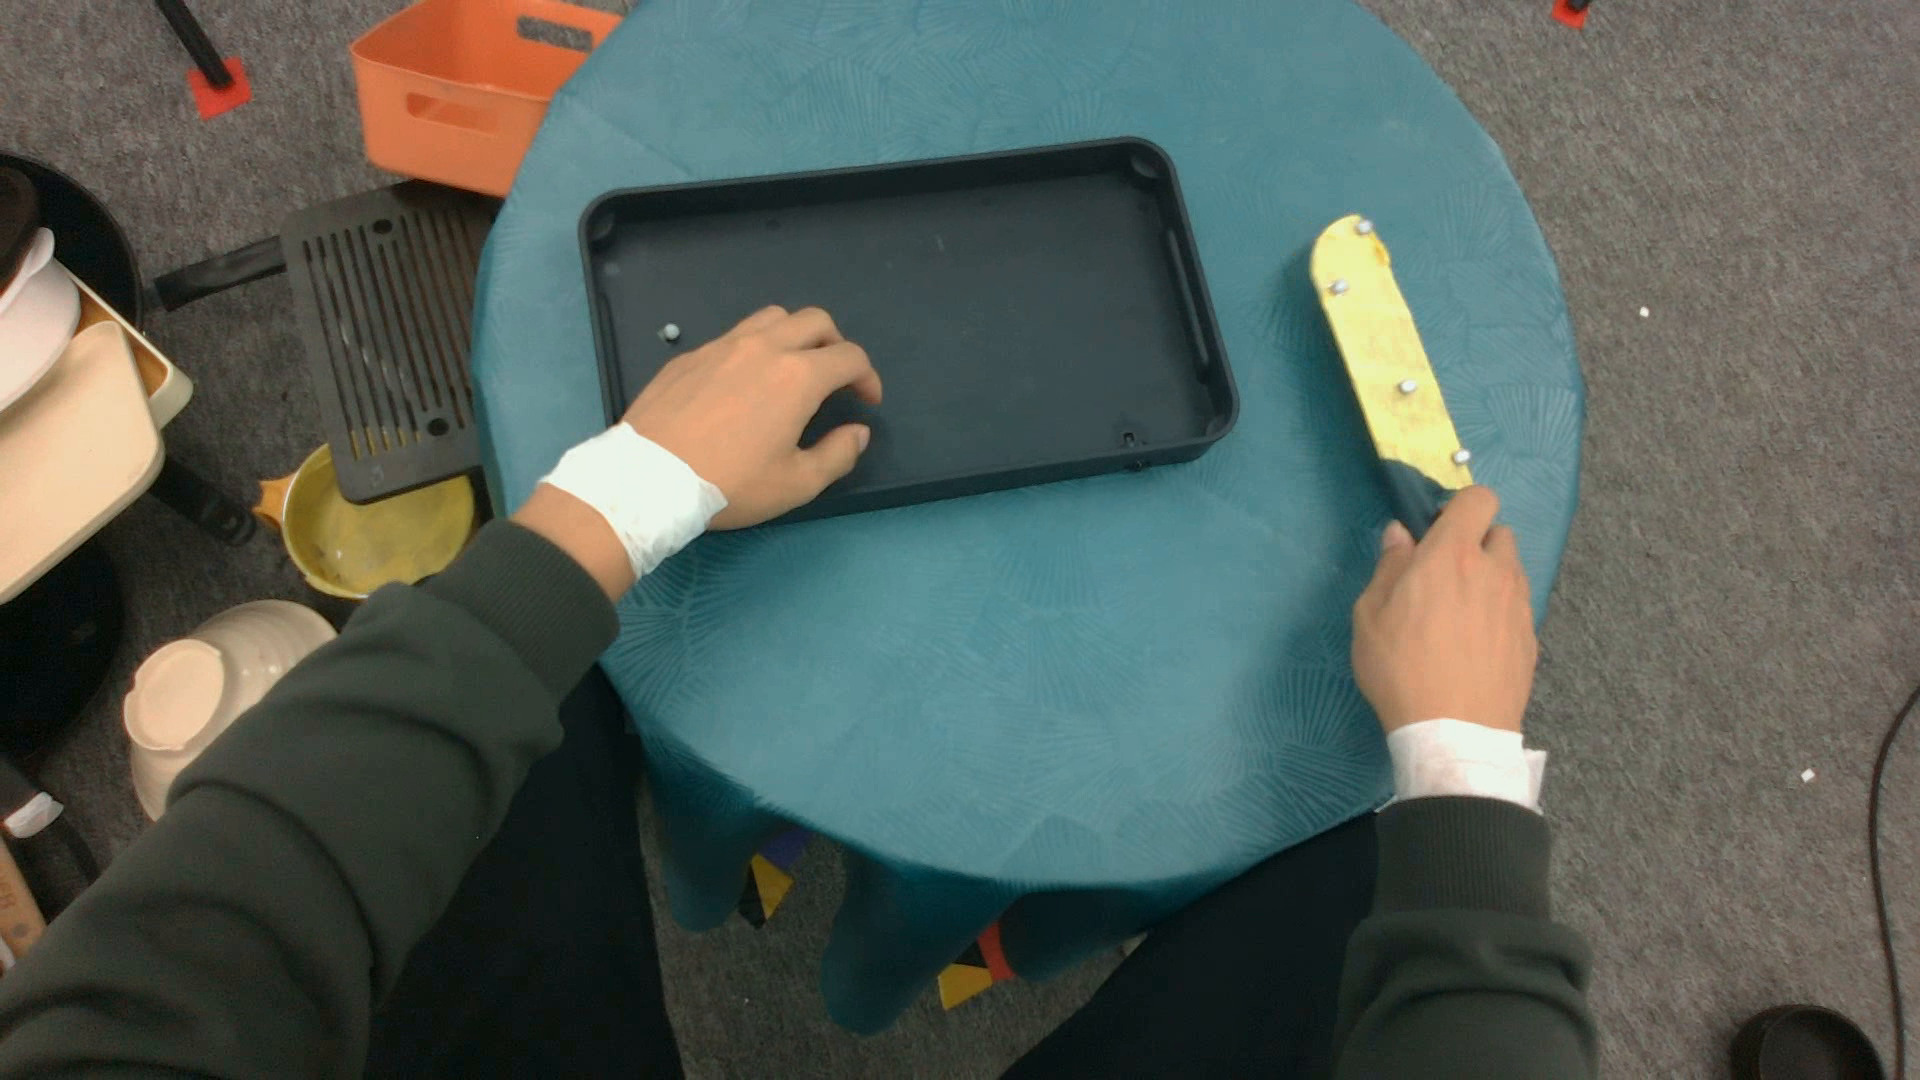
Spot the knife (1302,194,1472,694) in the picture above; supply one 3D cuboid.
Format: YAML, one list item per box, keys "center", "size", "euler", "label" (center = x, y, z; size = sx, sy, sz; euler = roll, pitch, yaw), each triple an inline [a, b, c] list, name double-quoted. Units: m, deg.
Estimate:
- center: [0.227, -0.059, 0.727]
  size: [0.081, 0.027, 0.290]
  euler: [8, 65, -39]
  label: "knife"

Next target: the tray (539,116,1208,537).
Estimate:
- center: [-0.043, -0.115, 0.715]
  size: [0.318, 0.037, 0.184]
  euler: [-11, 75, -12]
  label: "tray"
